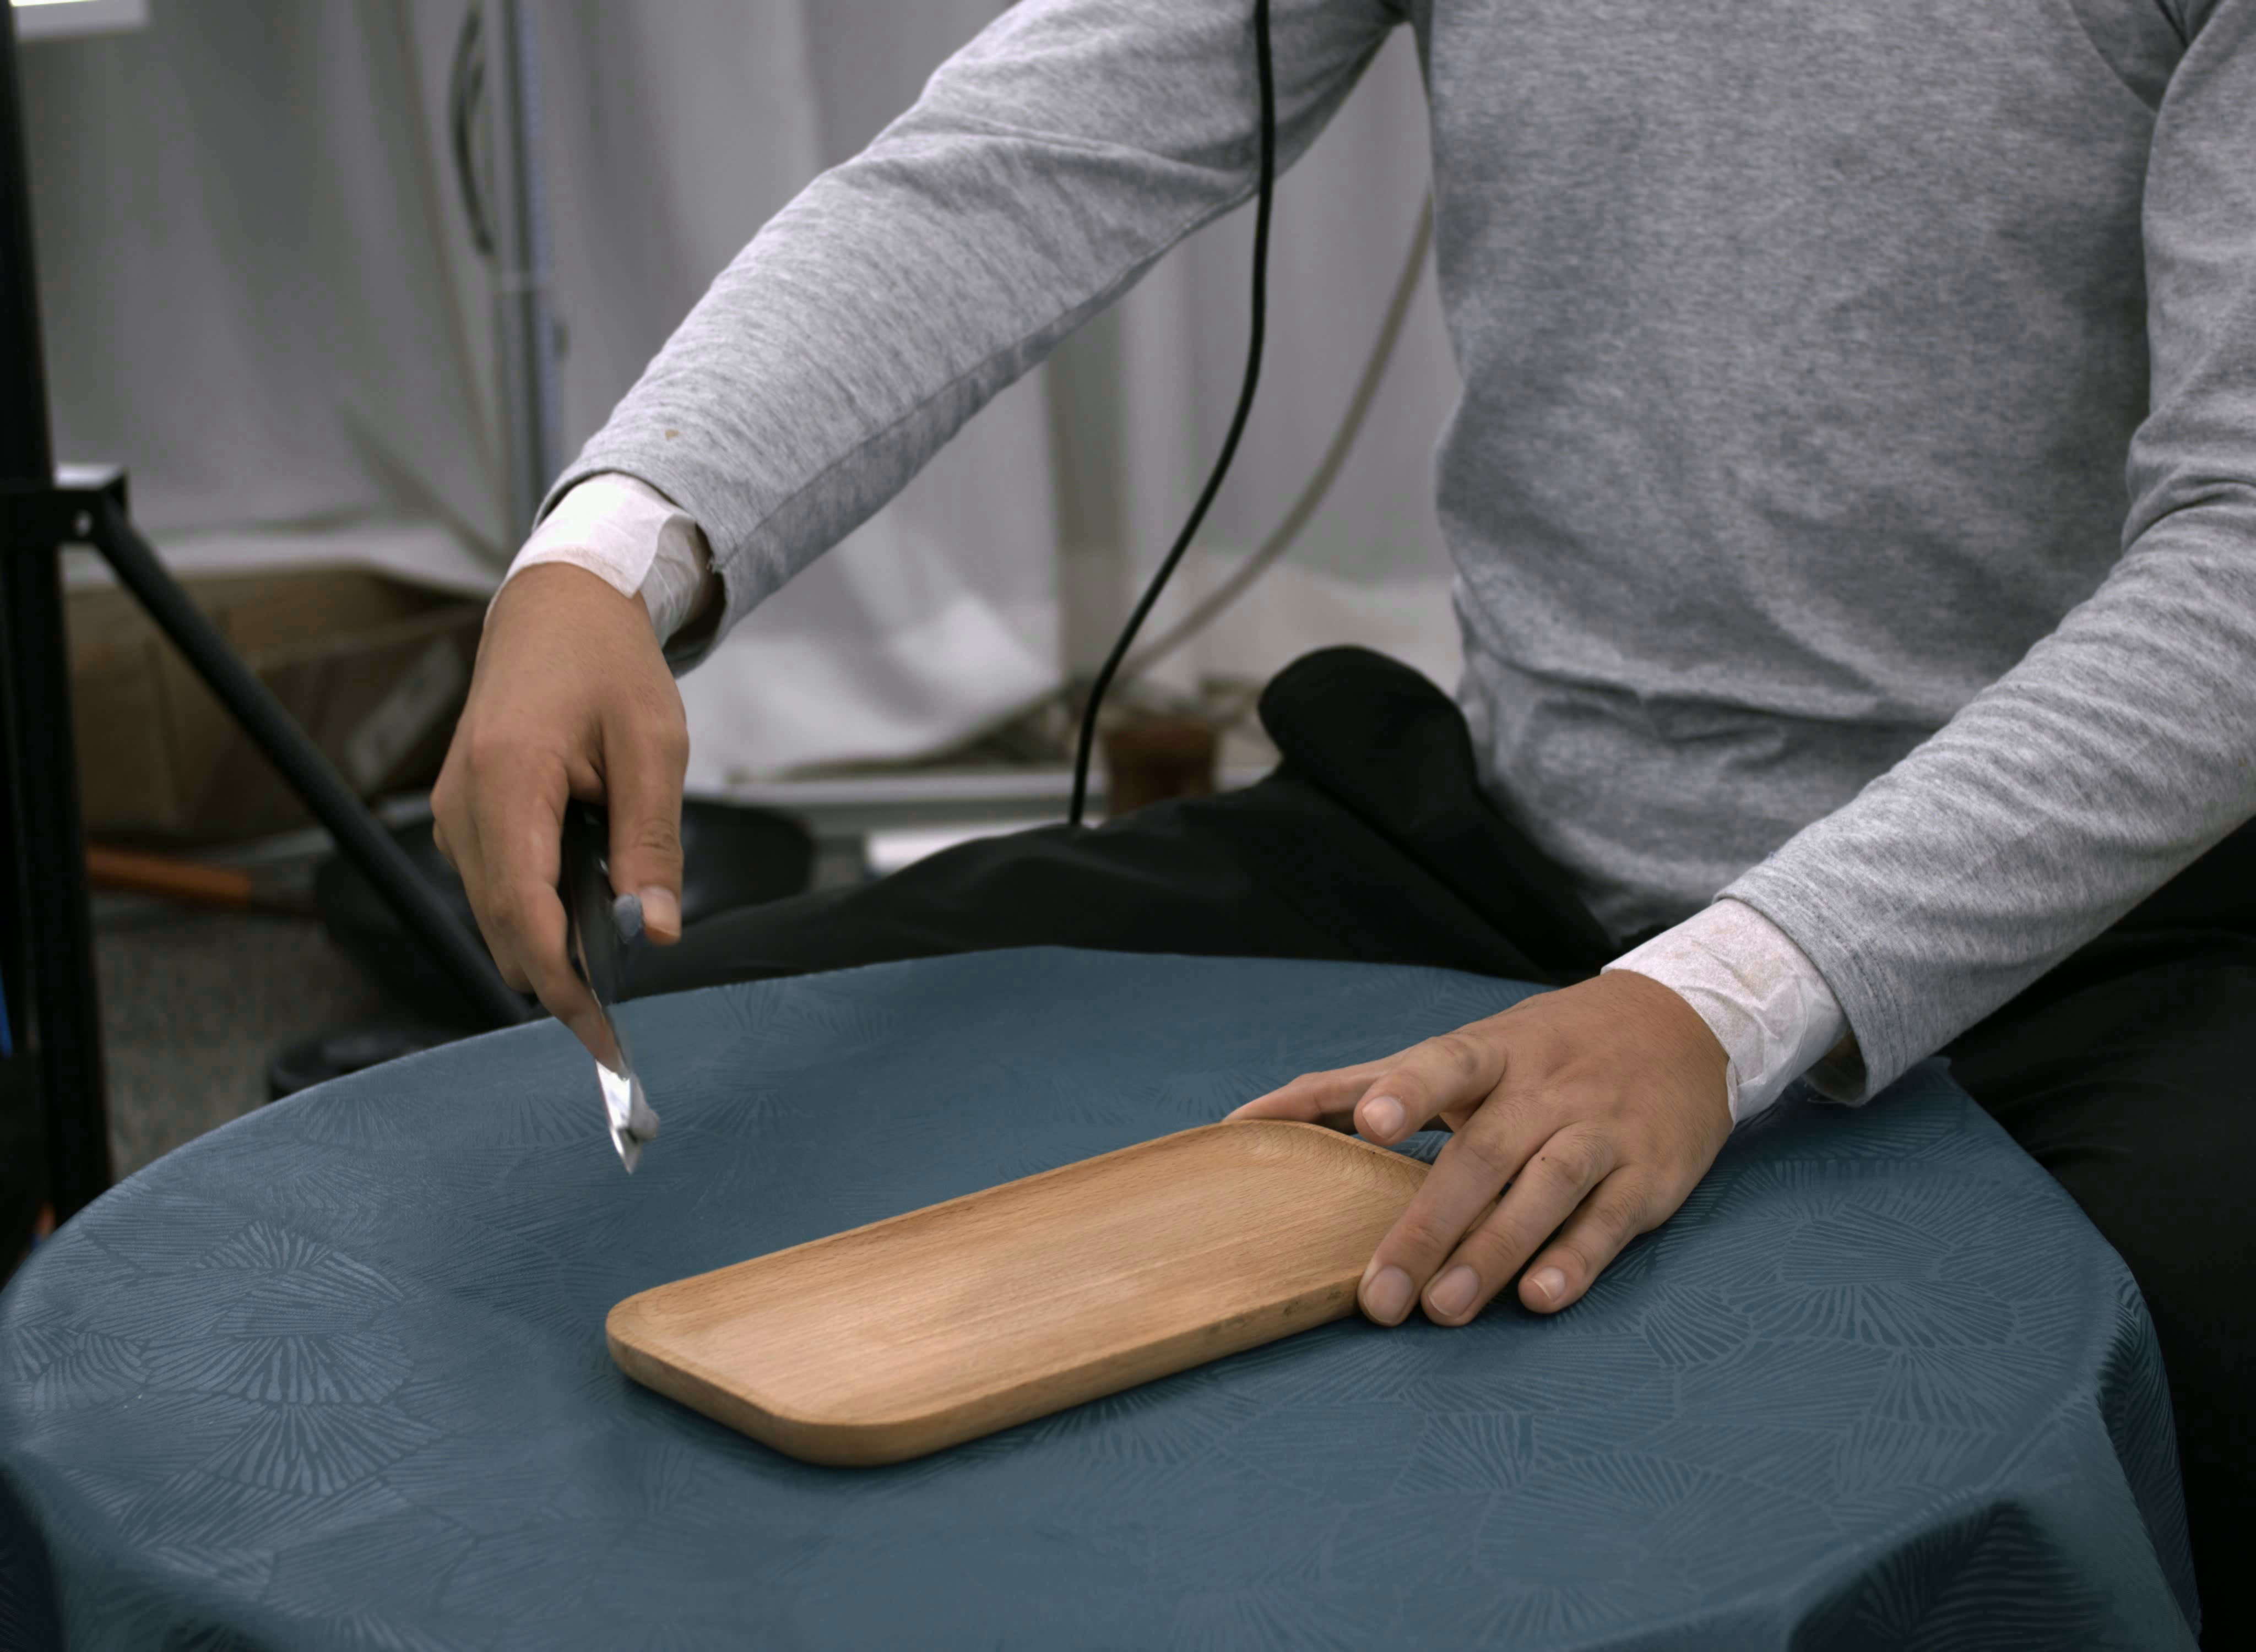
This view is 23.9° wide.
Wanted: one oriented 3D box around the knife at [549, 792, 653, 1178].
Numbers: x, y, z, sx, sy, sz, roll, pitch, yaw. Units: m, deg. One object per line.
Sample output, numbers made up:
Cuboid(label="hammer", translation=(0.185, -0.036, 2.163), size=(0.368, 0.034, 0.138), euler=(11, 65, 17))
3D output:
Cuboid(label="knife", translation=(-0.147, 0.042, 1.492), size=(0.016, 0.024, 0.241), euler=(-43, 23, 10))

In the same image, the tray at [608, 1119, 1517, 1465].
Cuboid(label="tray", translation=(-0.015, 0.127, 1.469), size=(0.245, 0.023, 0.133), euler=(-12, 21, -35))
